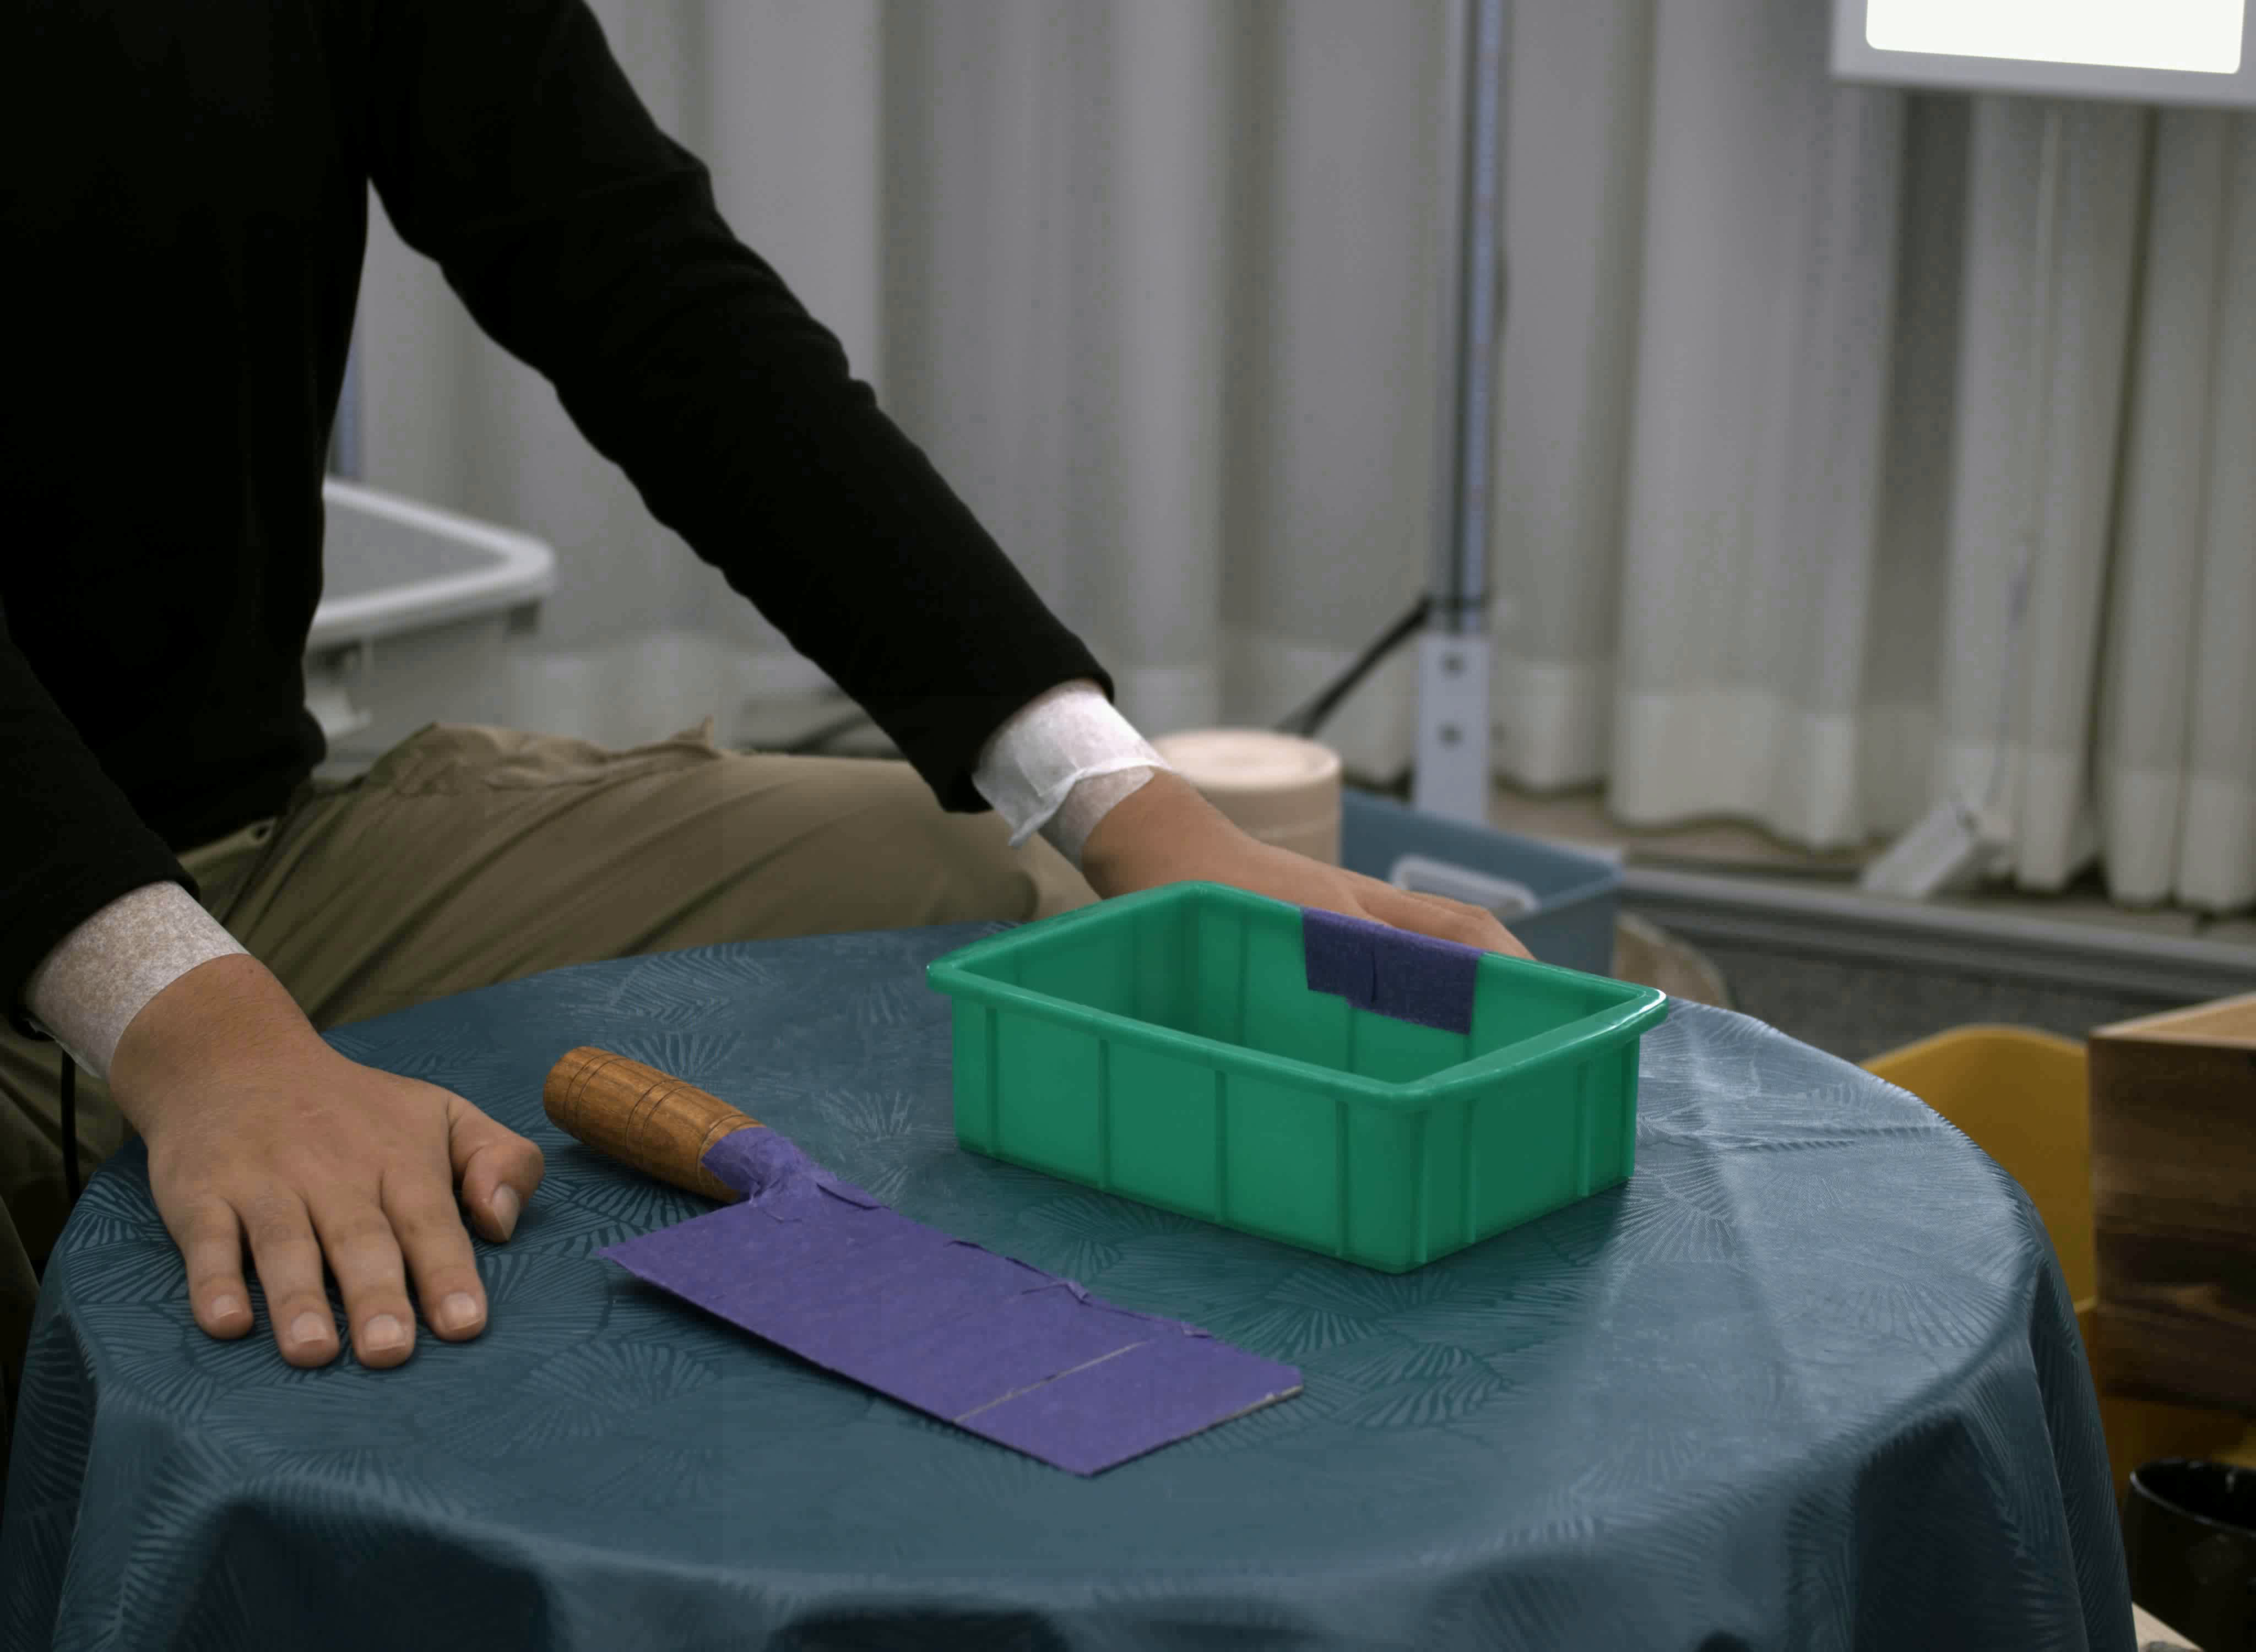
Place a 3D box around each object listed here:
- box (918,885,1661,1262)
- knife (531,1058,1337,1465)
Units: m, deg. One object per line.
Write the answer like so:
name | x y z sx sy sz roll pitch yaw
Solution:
box | 0.049 0.076 1.639 0.208 0.066 0.139 11 17 38
knife | -0.086 0.123 1.529 0.311 0.032 0.104 15 21 41
